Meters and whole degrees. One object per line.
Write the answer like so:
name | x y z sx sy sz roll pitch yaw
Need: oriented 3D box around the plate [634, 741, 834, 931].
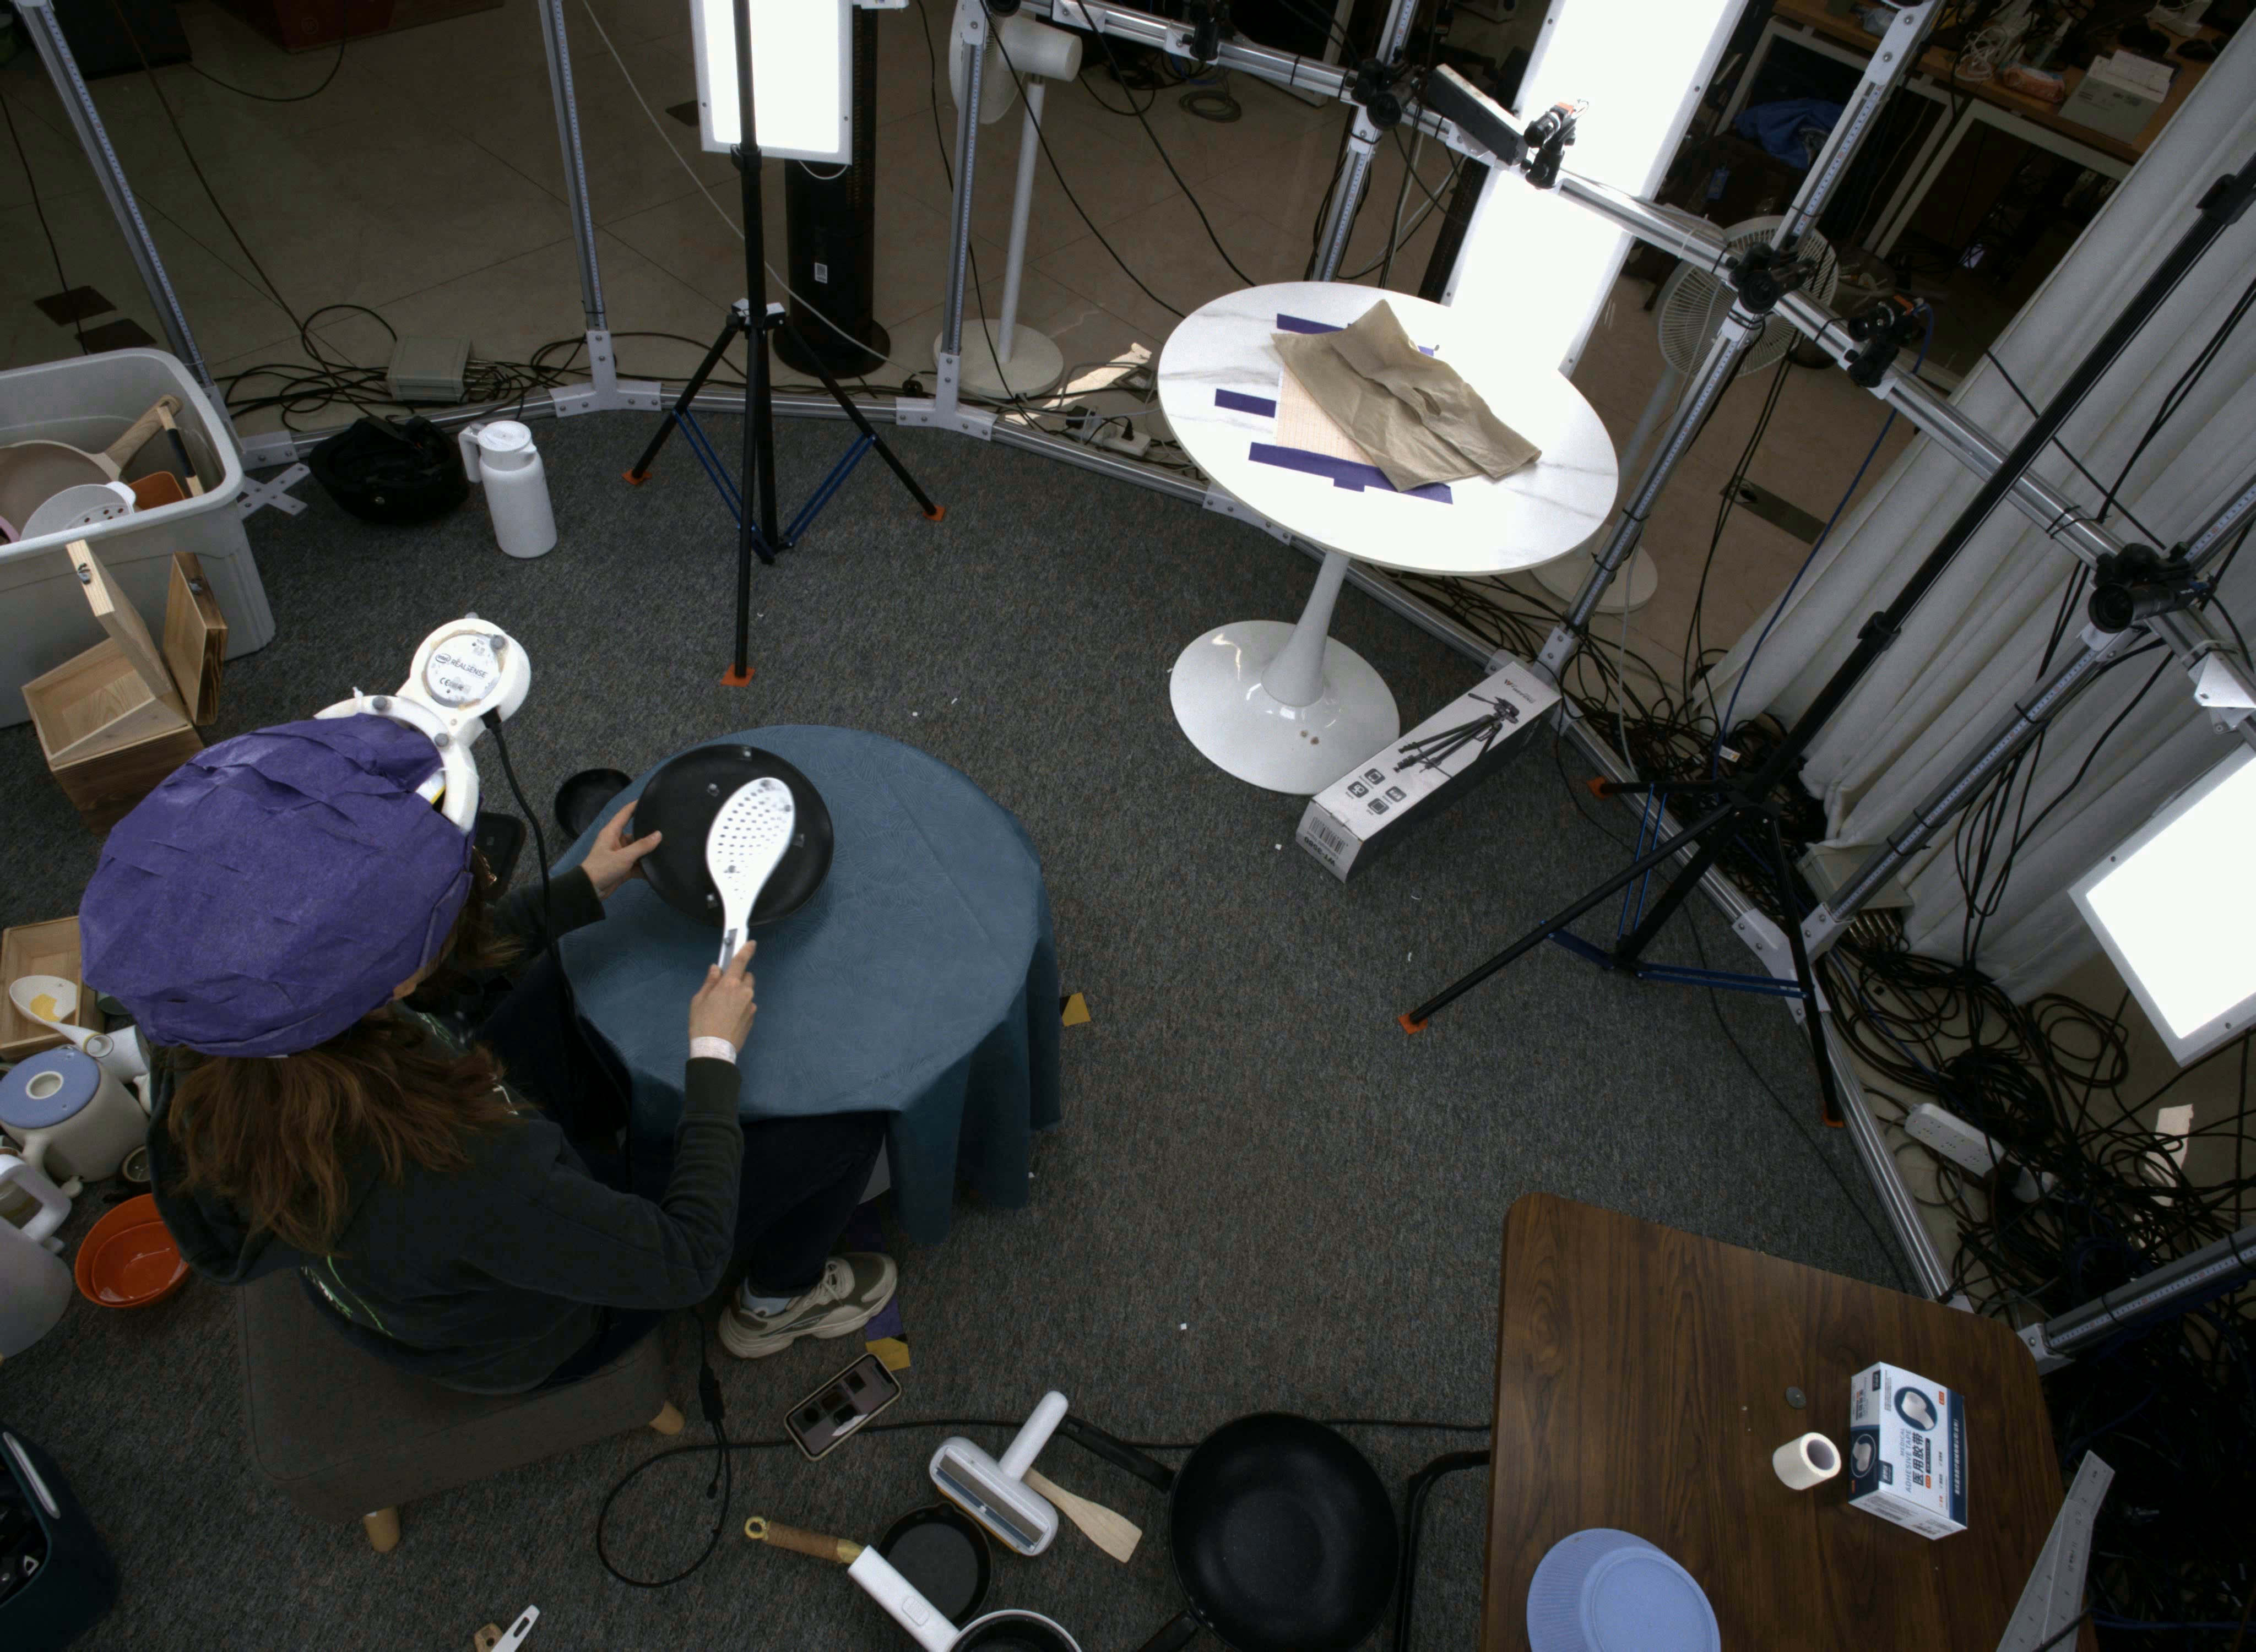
plate | -0.485 0.012 1.592 0.248 0.023 0.242 12 67 -25

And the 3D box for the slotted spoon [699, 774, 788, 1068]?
slotted spoon | -0.448 0.101 1.472 0.133 0.047 0.345 -13 57 29
